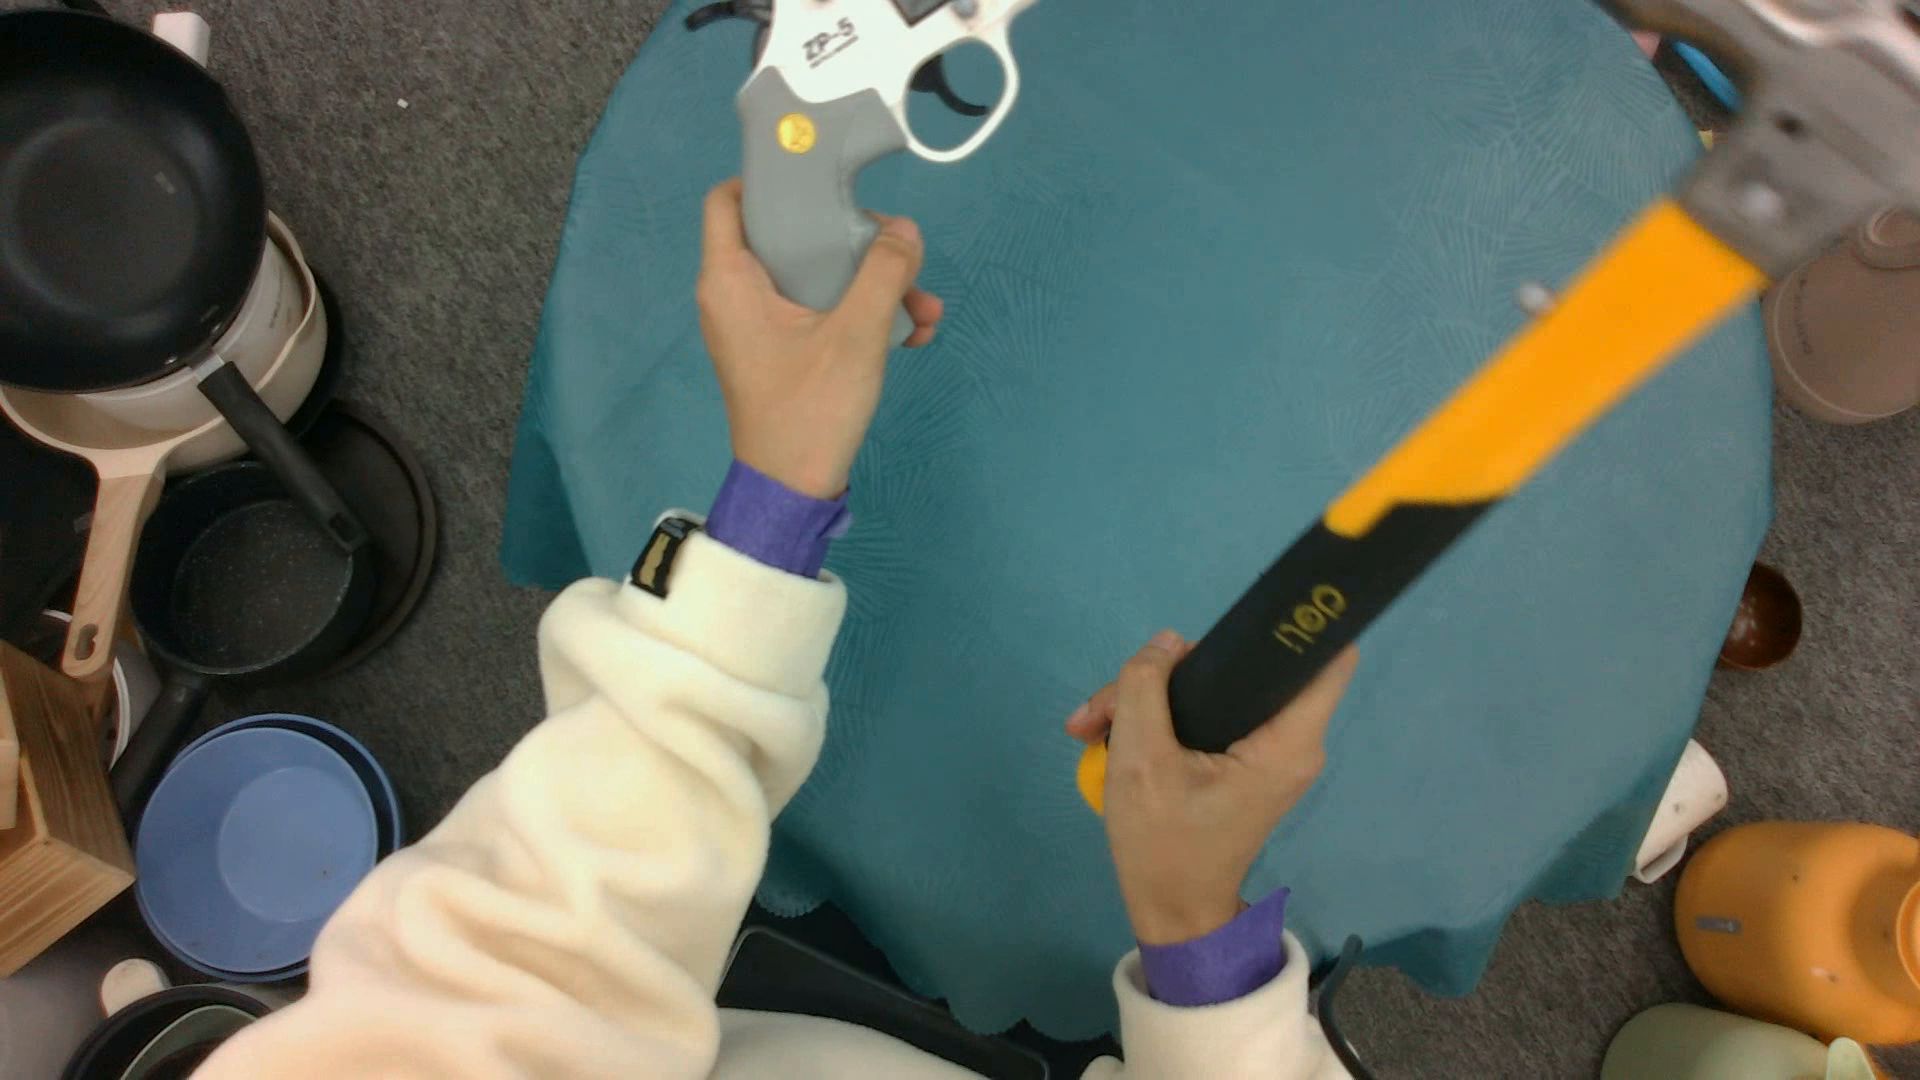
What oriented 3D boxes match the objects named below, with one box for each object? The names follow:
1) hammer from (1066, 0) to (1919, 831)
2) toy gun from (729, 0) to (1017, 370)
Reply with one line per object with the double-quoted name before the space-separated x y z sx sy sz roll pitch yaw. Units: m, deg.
"hammer" 0.118 -0.005 0.394 0.131 0.336 0.032 36 44 3
"toy gun" -0.008 -0.166 0.472 0.209 0.039 0.141 -33 101 6
